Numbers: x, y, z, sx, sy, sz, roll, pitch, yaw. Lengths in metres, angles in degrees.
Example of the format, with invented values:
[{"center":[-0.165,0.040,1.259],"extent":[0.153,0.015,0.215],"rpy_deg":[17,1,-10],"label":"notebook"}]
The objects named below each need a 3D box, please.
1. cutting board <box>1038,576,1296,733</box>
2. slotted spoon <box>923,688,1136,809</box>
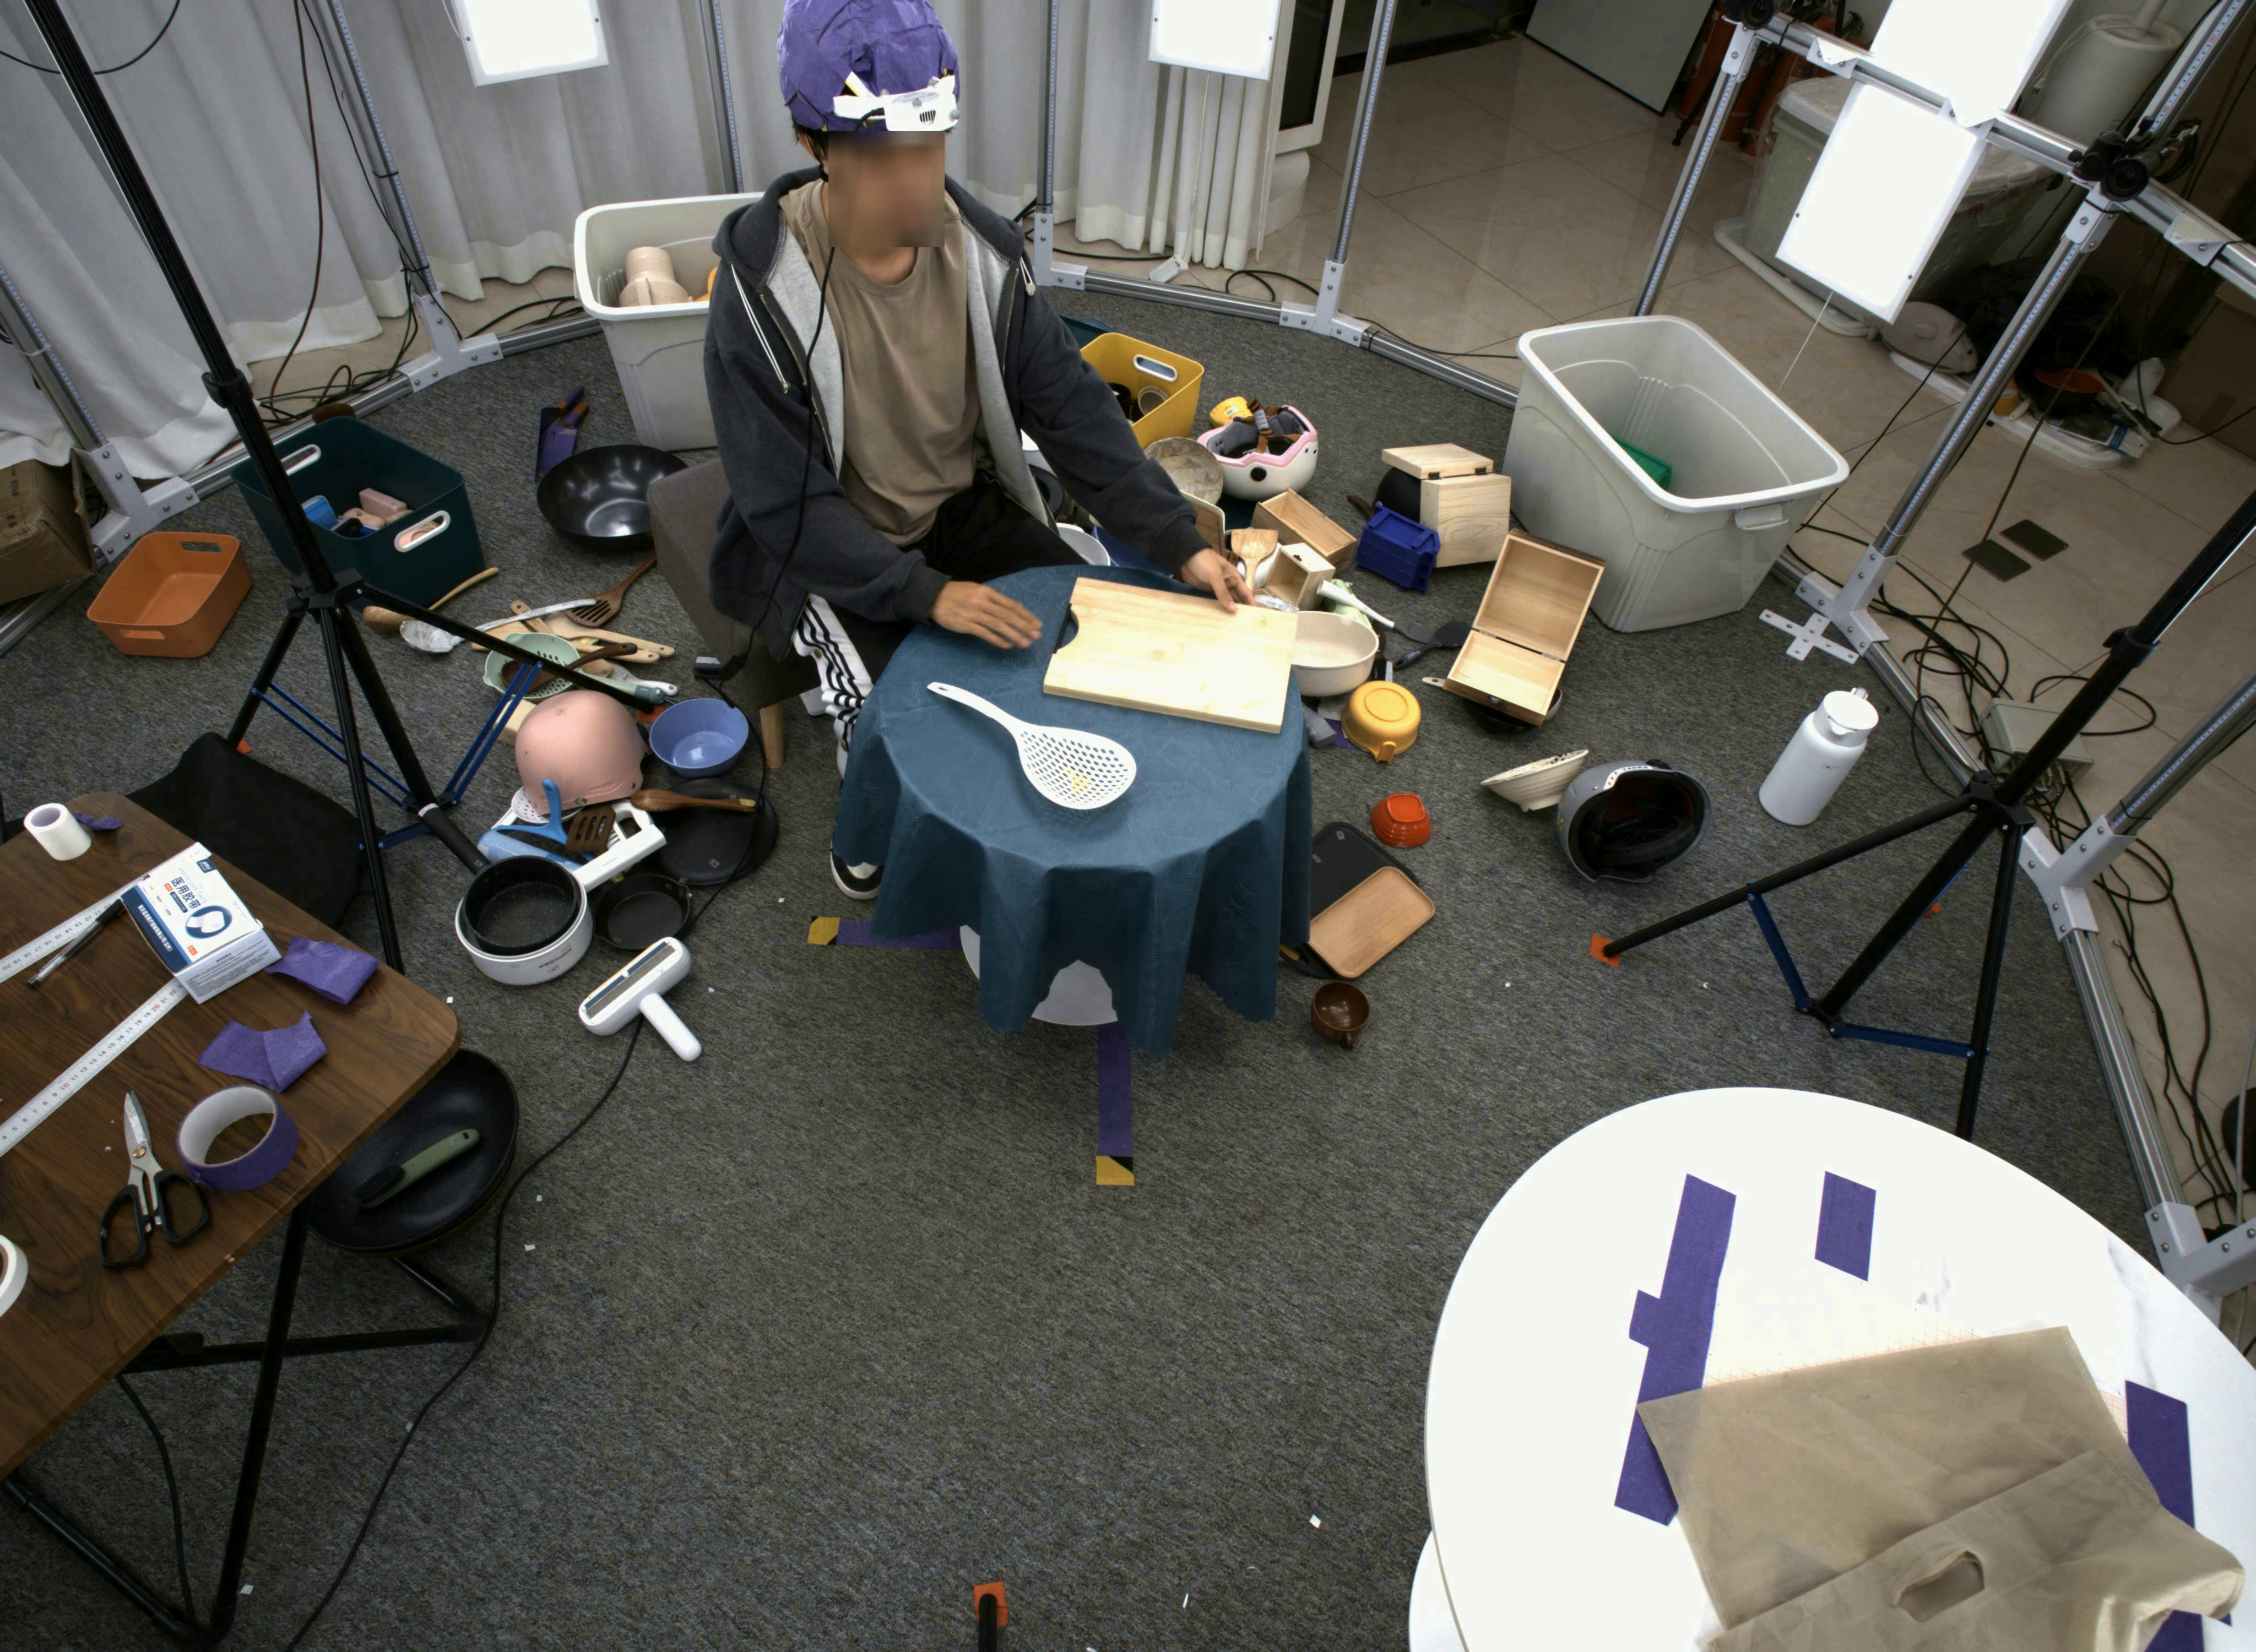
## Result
[{"center":[0.063,-0.256,1.882],"extent":[0.349,0.023,0.256],"rpy_deg":[9,49,4],"label":"cutting board"},{"center":[-0.144,-0.120,1.734],"extent":[0.352,0.049,0.138],"rpy_deg":[34,57,23],"label":"slotted spoon"}]
